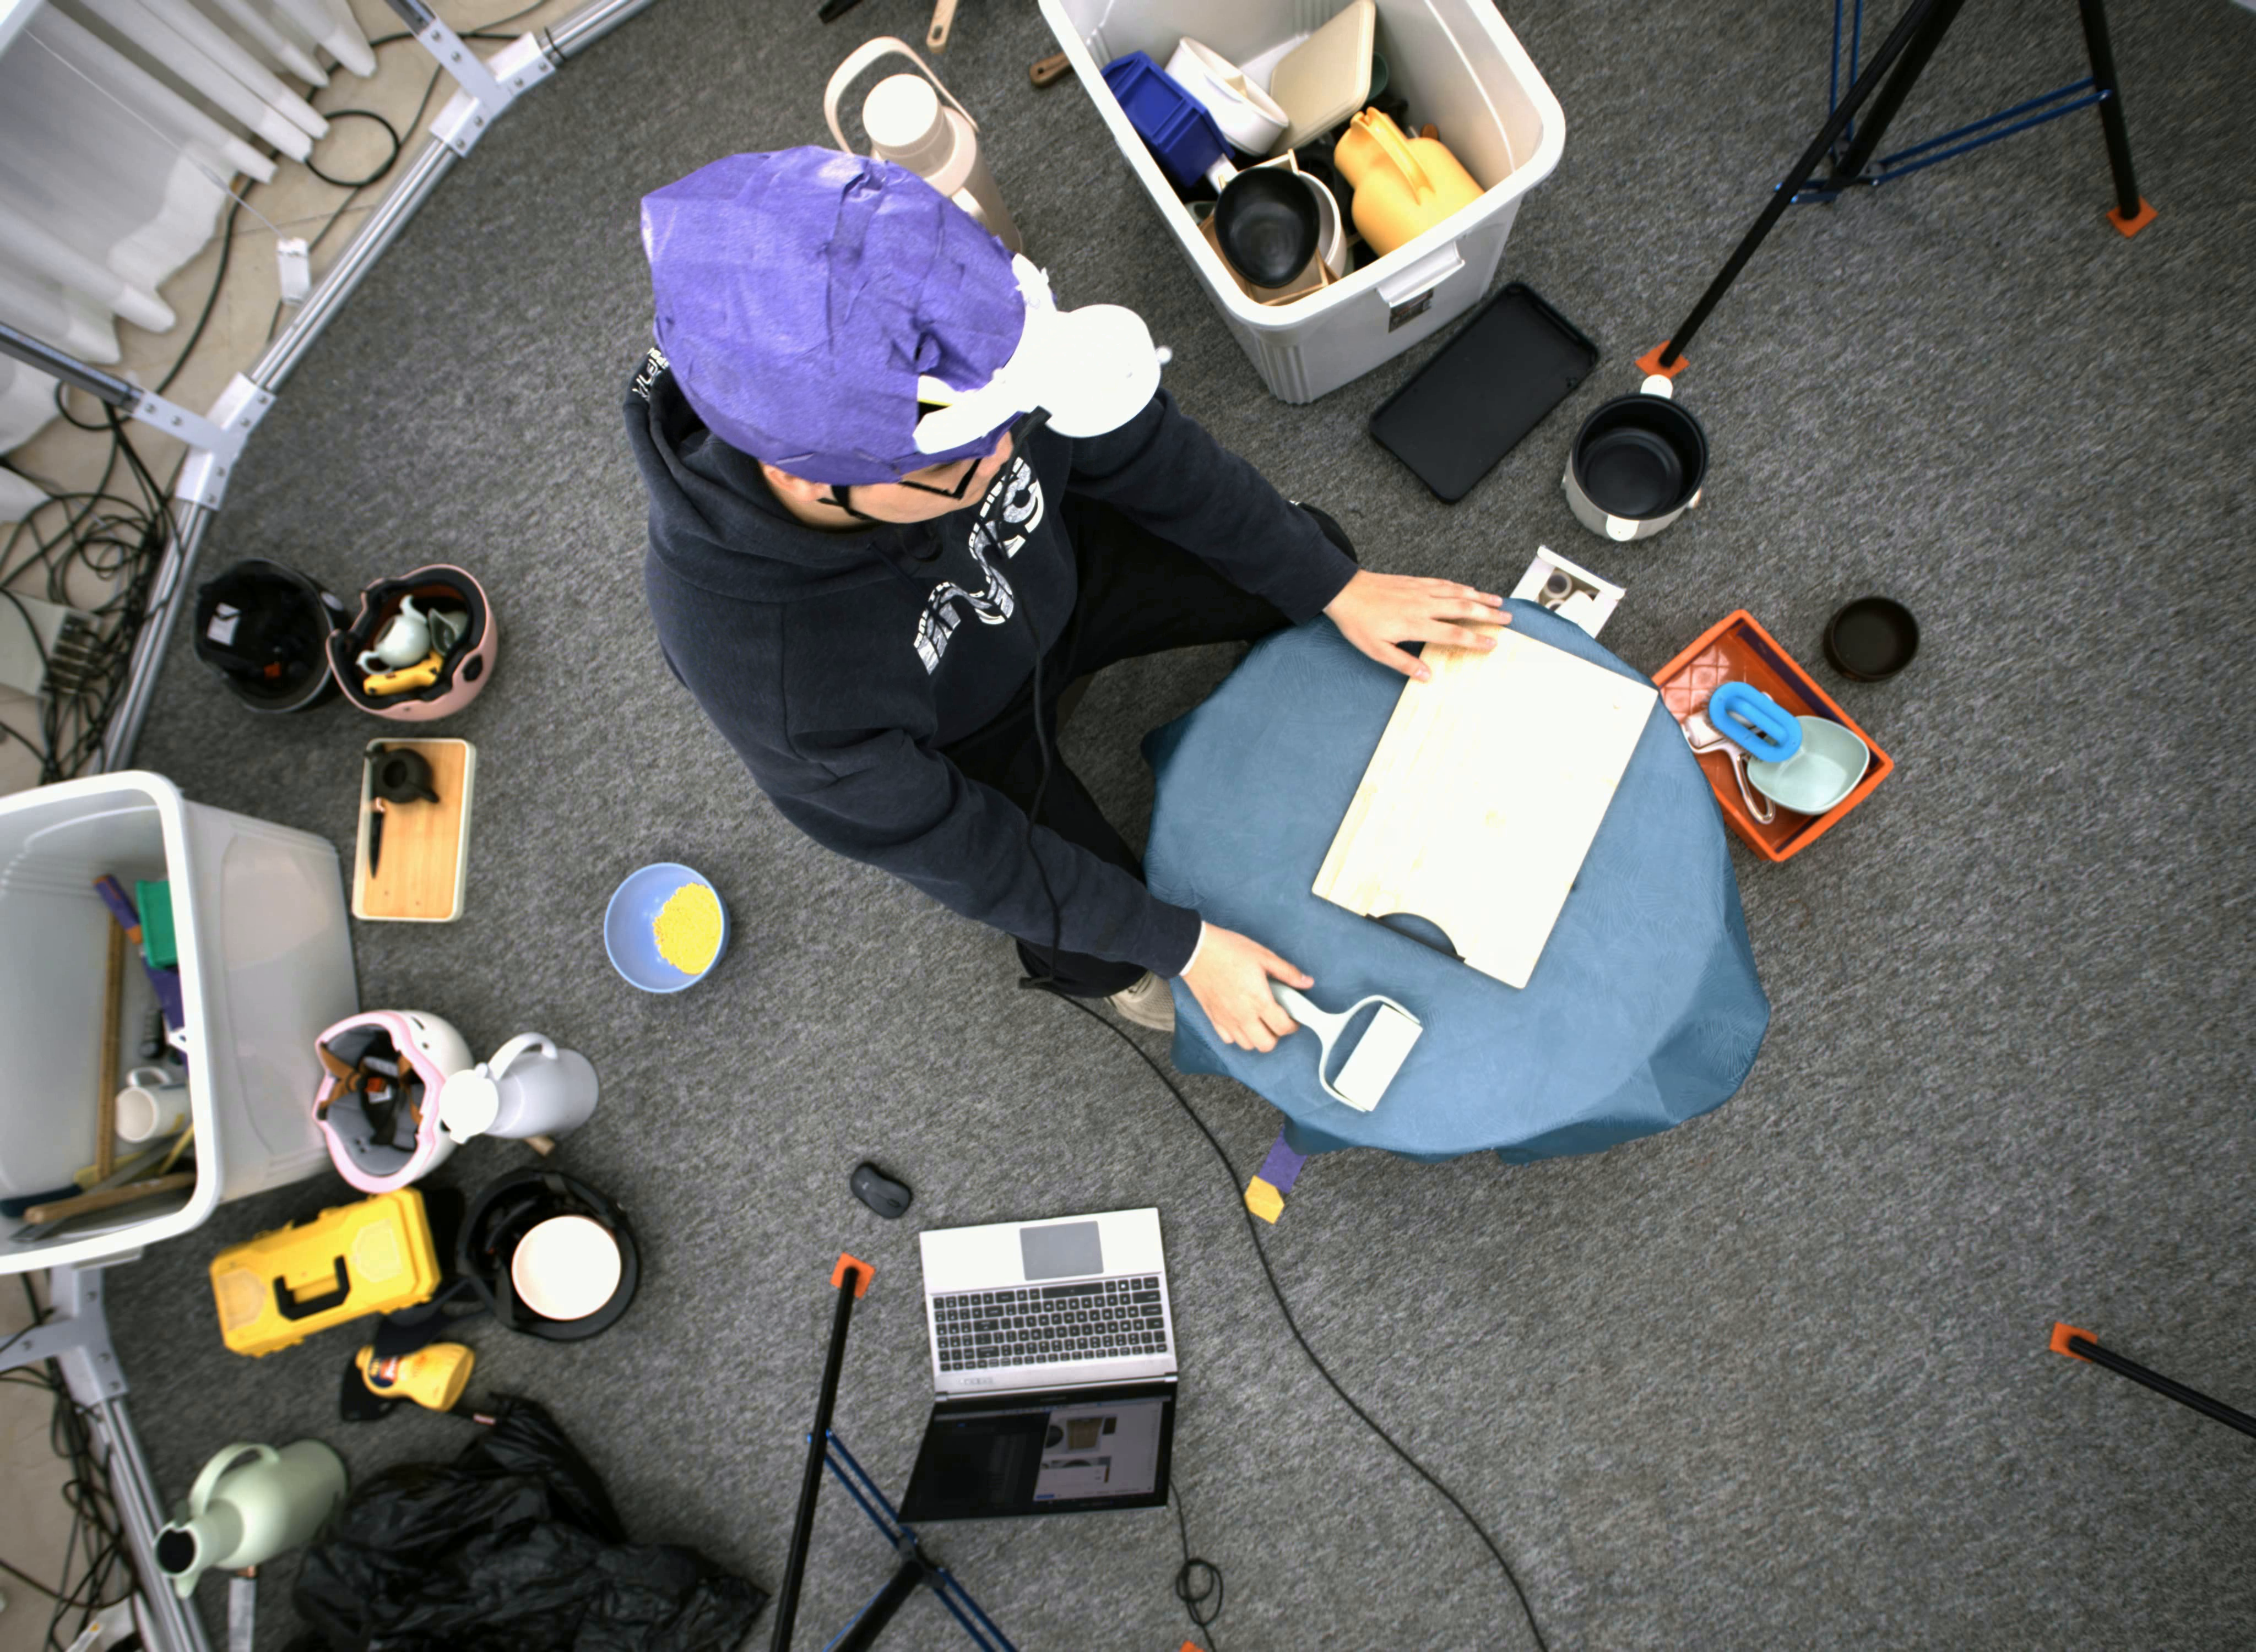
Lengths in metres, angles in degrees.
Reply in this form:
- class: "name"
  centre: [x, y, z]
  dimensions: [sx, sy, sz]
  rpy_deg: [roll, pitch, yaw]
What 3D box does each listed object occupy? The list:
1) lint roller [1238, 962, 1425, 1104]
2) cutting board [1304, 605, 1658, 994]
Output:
- class: "lint roller"
  centre: [0.201, 0.193, 1.445]
  dimensions: [0.197, 0.048, 0.117]
  rpy_deg: [31, 95, 14]
- class: "cutting board"
  centre: [0.369, -0.032, 1.440]
  dimensions: [0.250, 0.023, 0.349]
  rpy_deg: [24, 91, 12]
